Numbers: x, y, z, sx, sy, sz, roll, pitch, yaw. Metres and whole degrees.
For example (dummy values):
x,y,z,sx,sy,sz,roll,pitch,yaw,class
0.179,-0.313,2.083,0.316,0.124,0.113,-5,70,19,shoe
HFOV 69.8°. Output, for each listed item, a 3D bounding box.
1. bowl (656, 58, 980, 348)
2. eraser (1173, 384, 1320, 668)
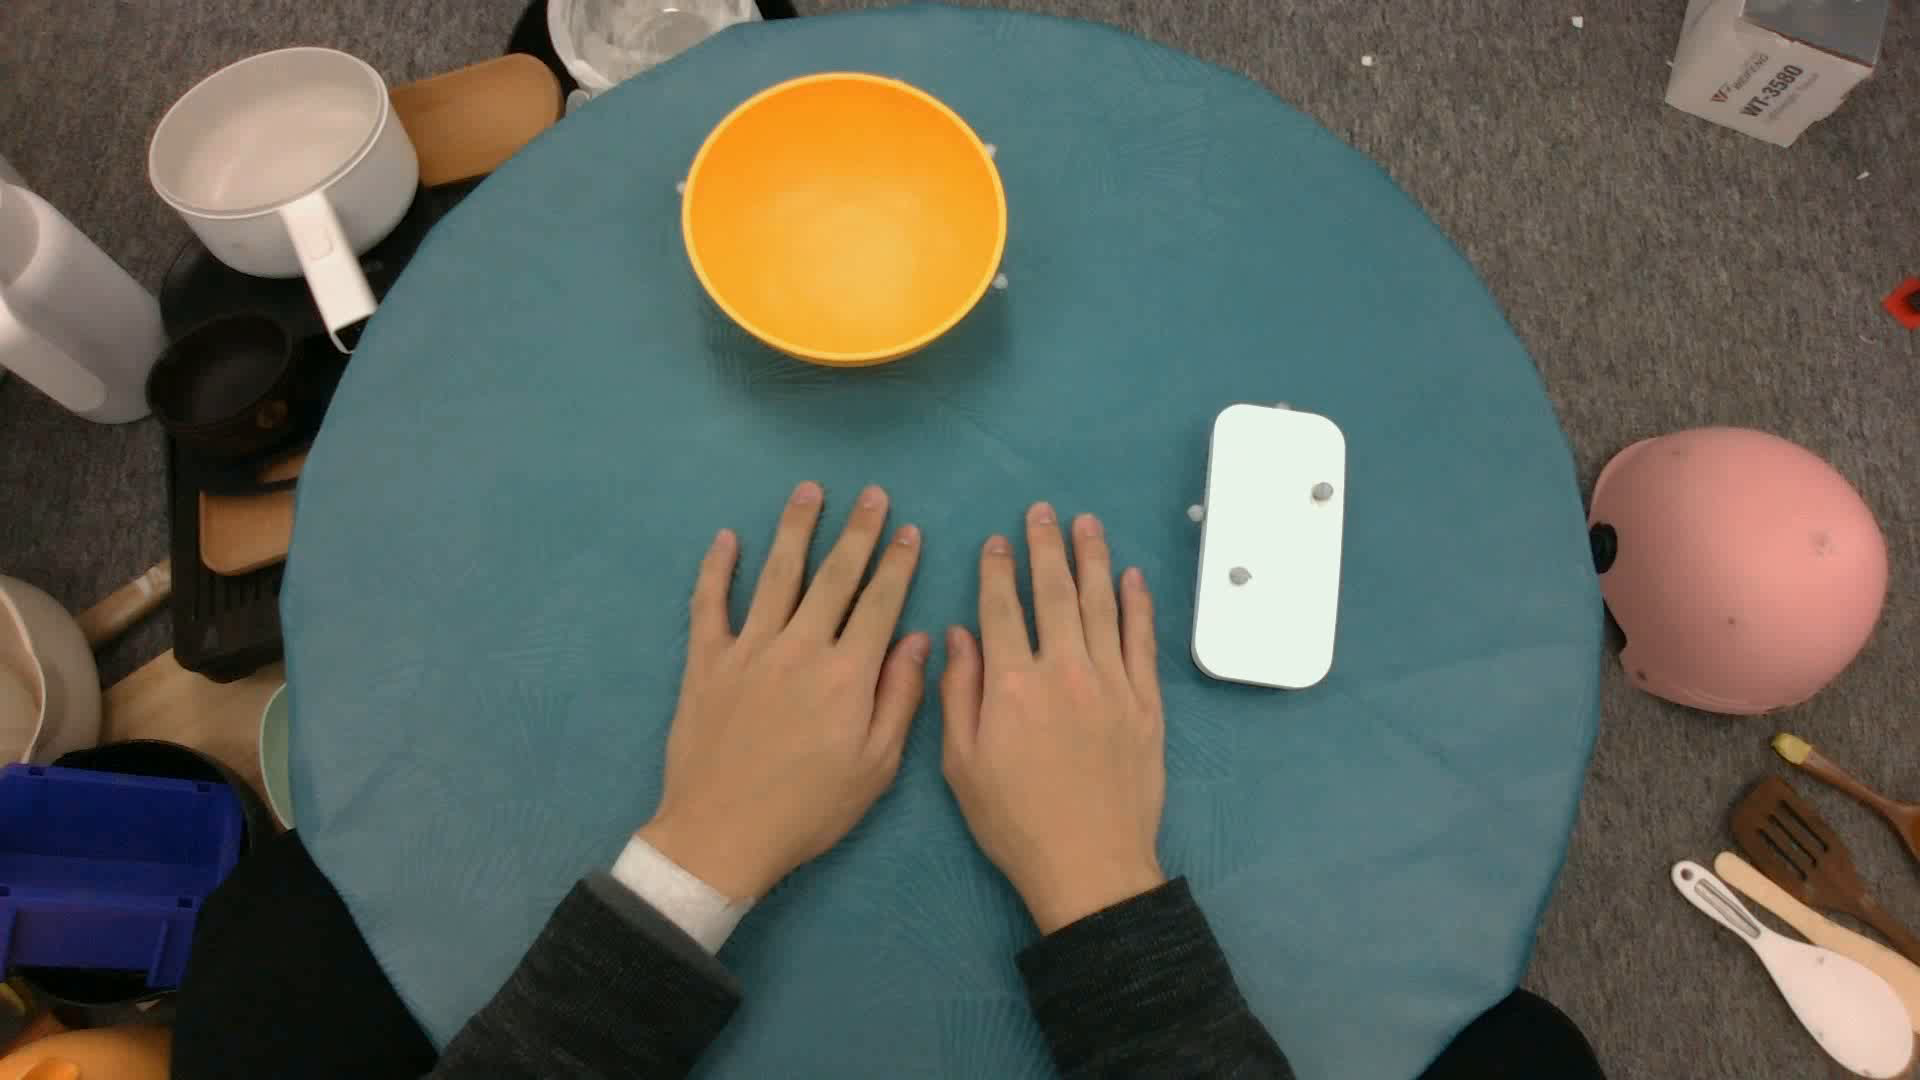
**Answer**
x,y,z,sx,sy,sz,roll,pitch,yaw,class
-0.064,-0.146,0.642,0.145,0.060,0.145,1,73,-2,bowl
0.129,-0.007,0.628,0.063,0.034,0.131,8,72,-1,eraser
